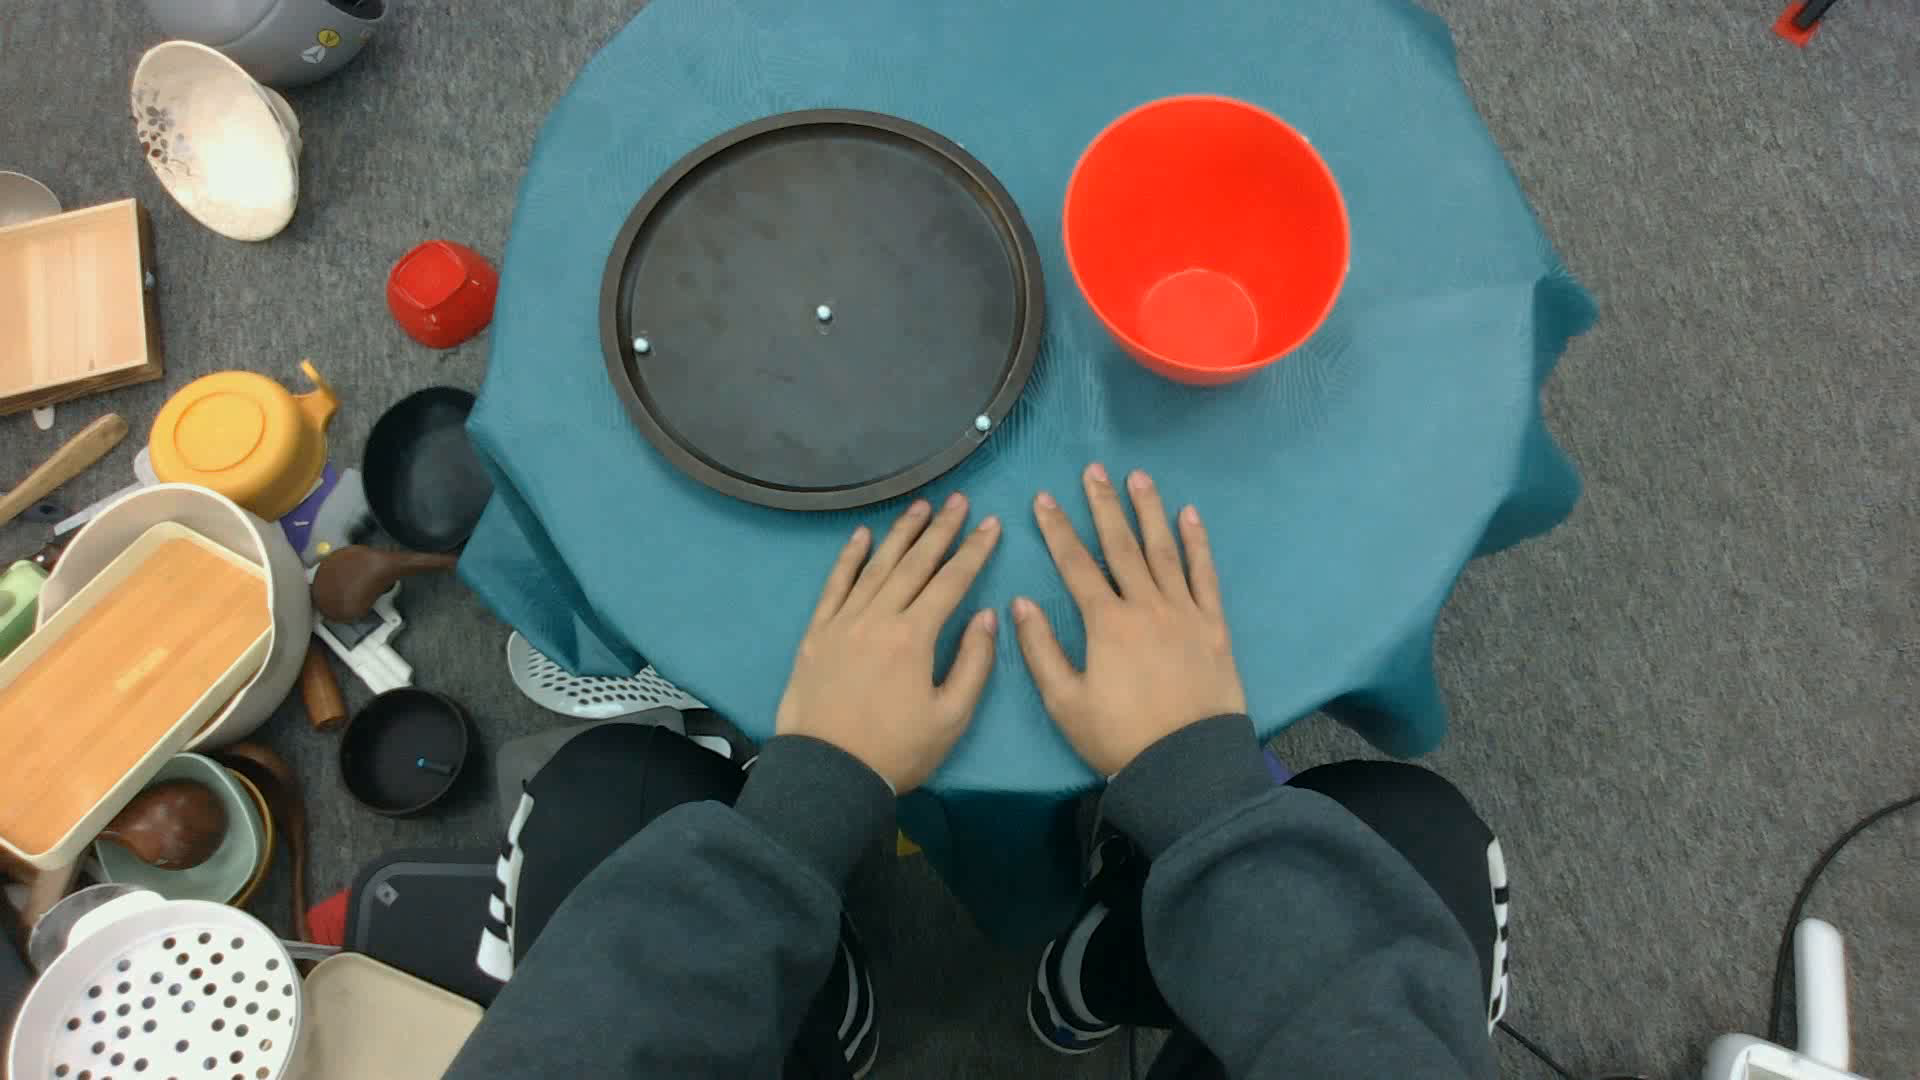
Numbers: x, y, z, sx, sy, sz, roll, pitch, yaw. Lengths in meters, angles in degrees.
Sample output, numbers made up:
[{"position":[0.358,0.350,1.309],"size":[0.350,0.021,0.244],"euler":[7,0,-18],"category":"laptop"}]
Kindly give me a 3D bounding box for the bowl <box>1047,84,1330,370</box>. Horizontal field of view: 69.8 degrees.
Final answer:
[{"position":[0.118,-0.154,0.744],"size":[0.148,0.104,0.148],"euler":[0,70,0],"category":"bowl"}]

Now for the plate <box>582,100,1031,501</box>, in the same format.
[{"position":[-0.087,-0.139,0.783],"size":[0.255,0.029,0.255],"euler":[0,72,0],"category":"plate"}]
